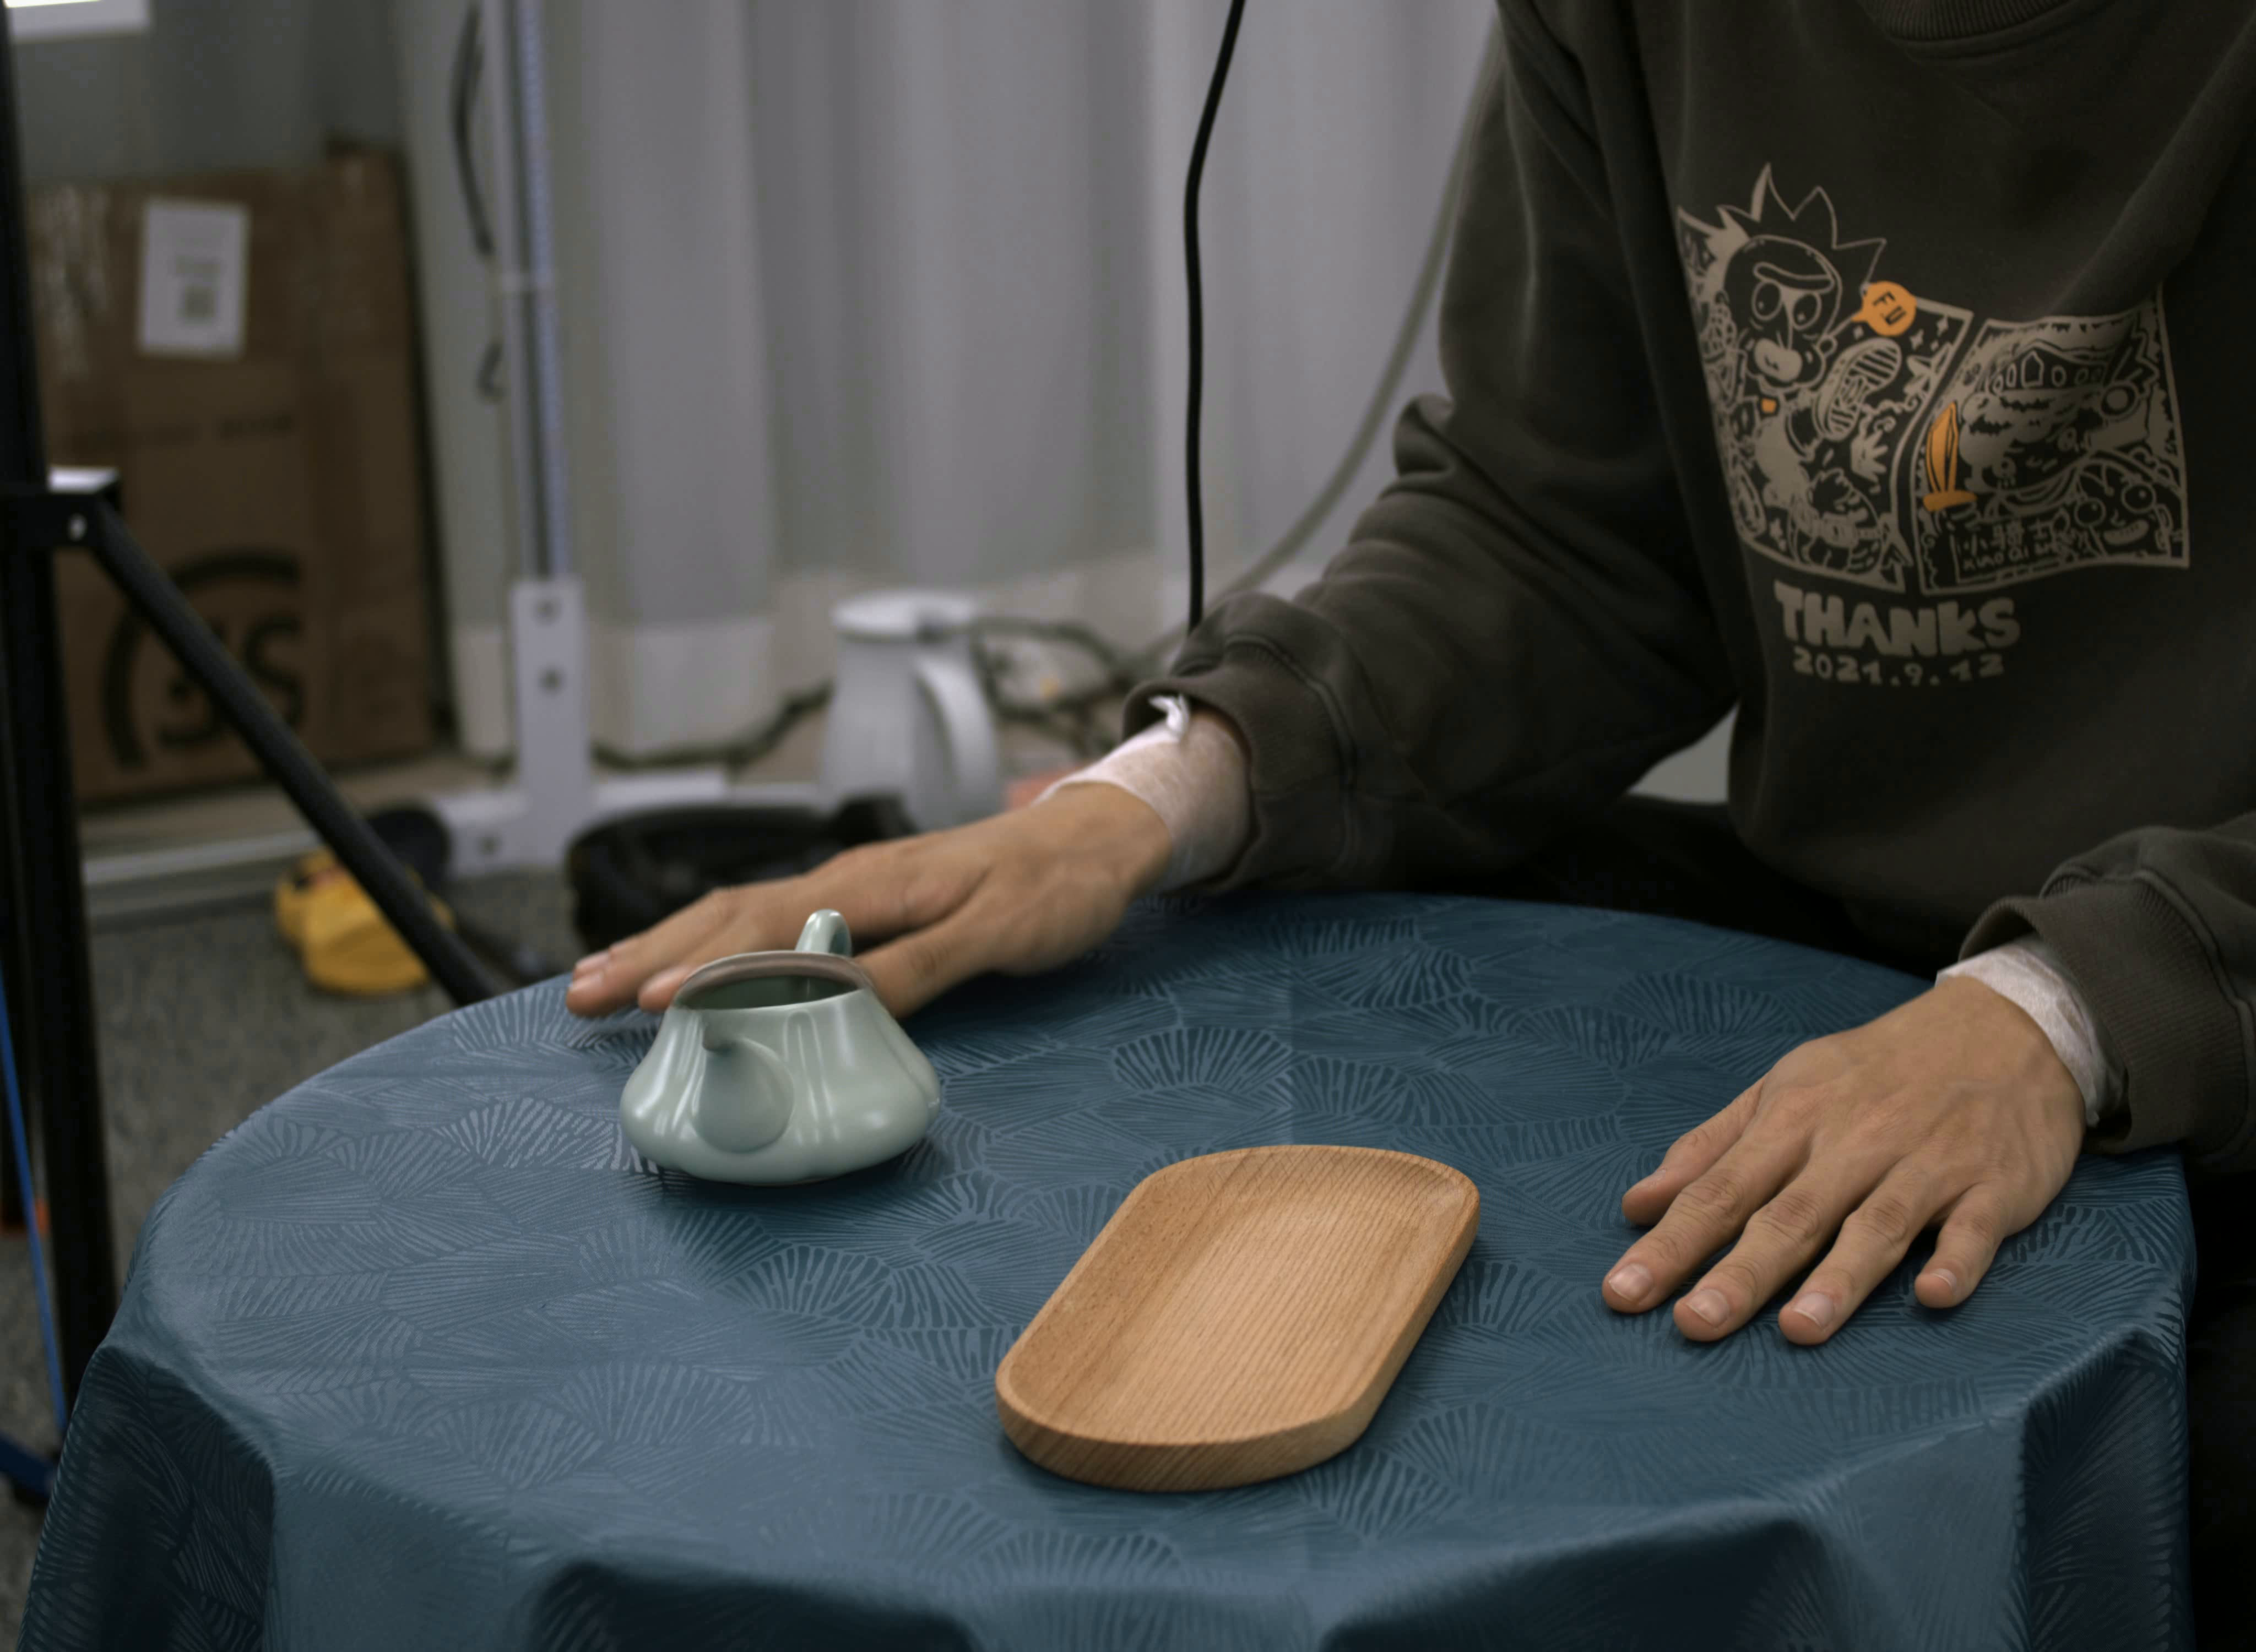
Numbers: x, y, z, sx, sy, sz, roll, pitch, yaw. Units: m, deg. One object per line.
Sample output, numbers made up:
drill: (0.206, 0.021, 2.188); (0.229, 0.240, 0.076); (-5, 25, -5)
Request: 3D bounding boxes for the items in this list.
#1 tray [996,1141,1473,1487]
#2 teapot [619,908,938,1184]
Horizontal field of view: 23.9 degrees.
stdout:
tray: (0.032, 0.130, 1.447); (0.102, 0.020, 0.229); (2, 15, 14)
teapot: (-0.105, 0.070, 1.606); (0.096, 0.061, 0.136); (-1, 16, 10)
